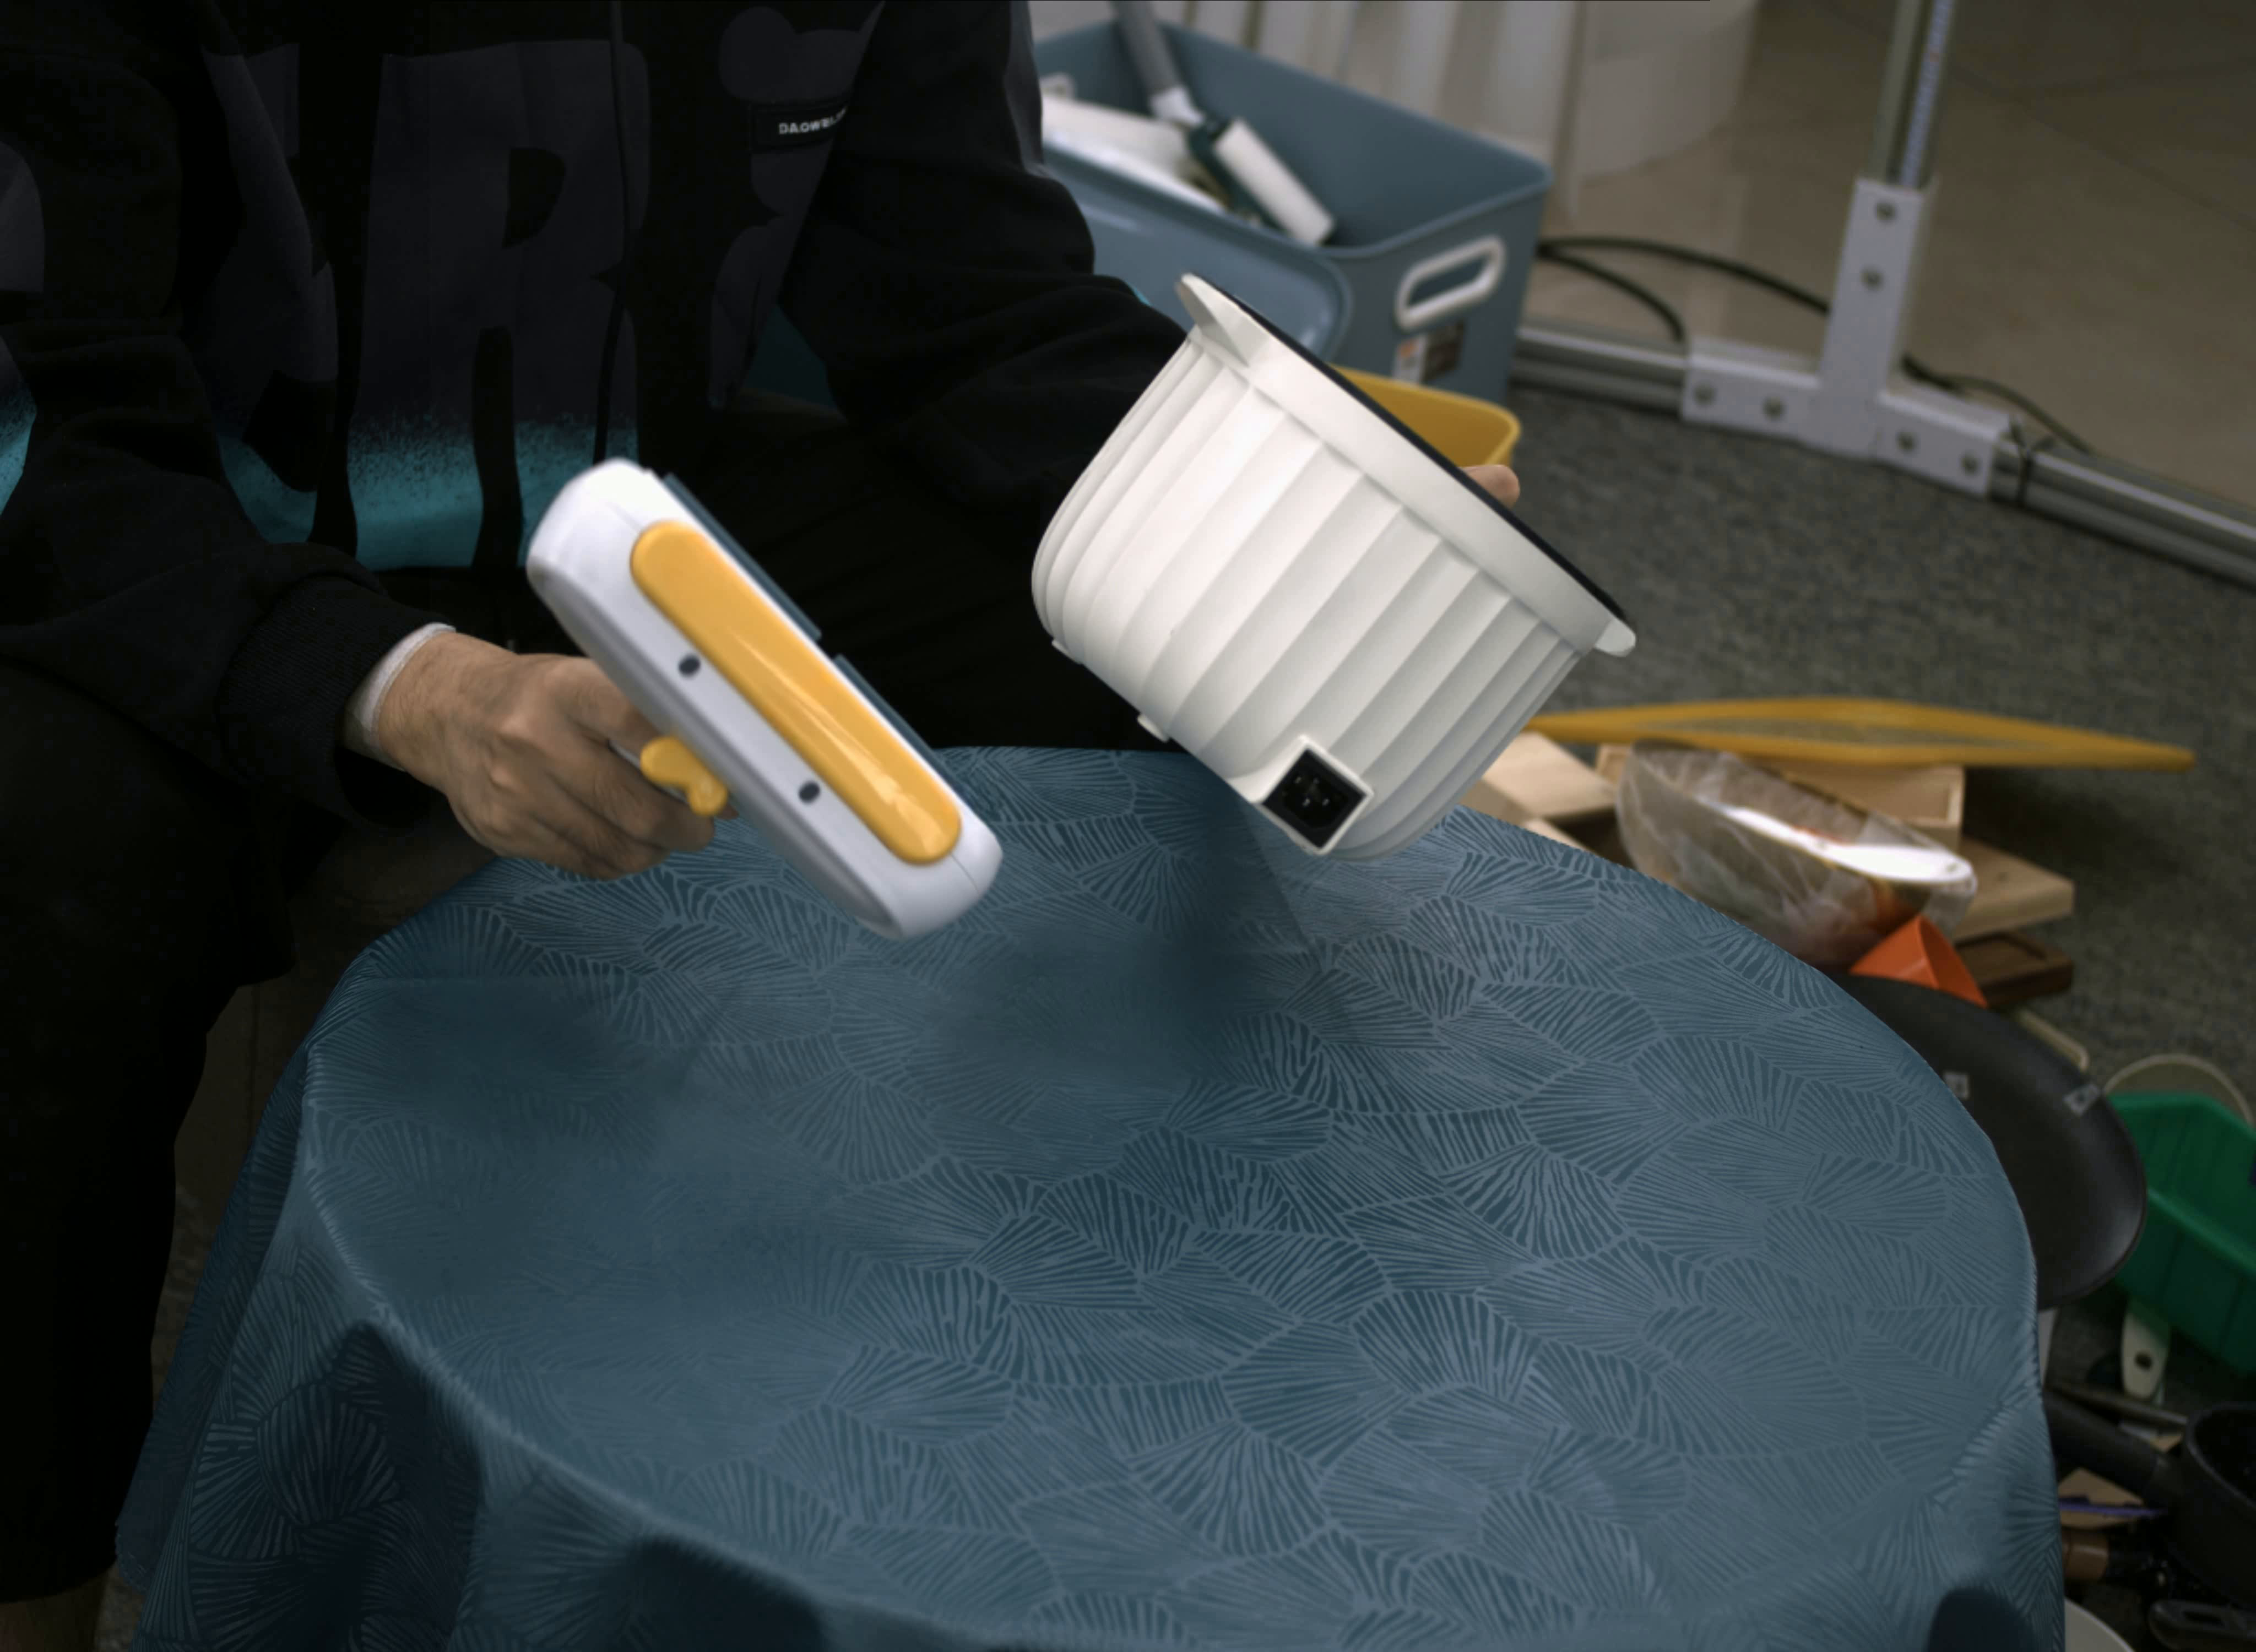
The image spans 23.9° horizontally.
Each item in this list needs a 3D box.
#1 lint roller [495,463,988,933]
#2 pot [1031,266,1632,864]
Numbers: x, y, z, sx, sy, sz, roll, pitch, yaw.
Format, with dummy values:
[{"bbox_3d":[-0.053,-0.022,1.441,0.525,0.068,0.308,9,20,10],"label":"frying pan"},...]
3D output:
[{"bbox_3d":[-0.152,-0.027,1.800,0.192,0.074,0.193,40,-21,-11],"label":"lint roller"},{"bbox_3d":[0.058,-0.083,1.882,0.238,0.142,0.192,39,5,-32],"label":"pot"}]
